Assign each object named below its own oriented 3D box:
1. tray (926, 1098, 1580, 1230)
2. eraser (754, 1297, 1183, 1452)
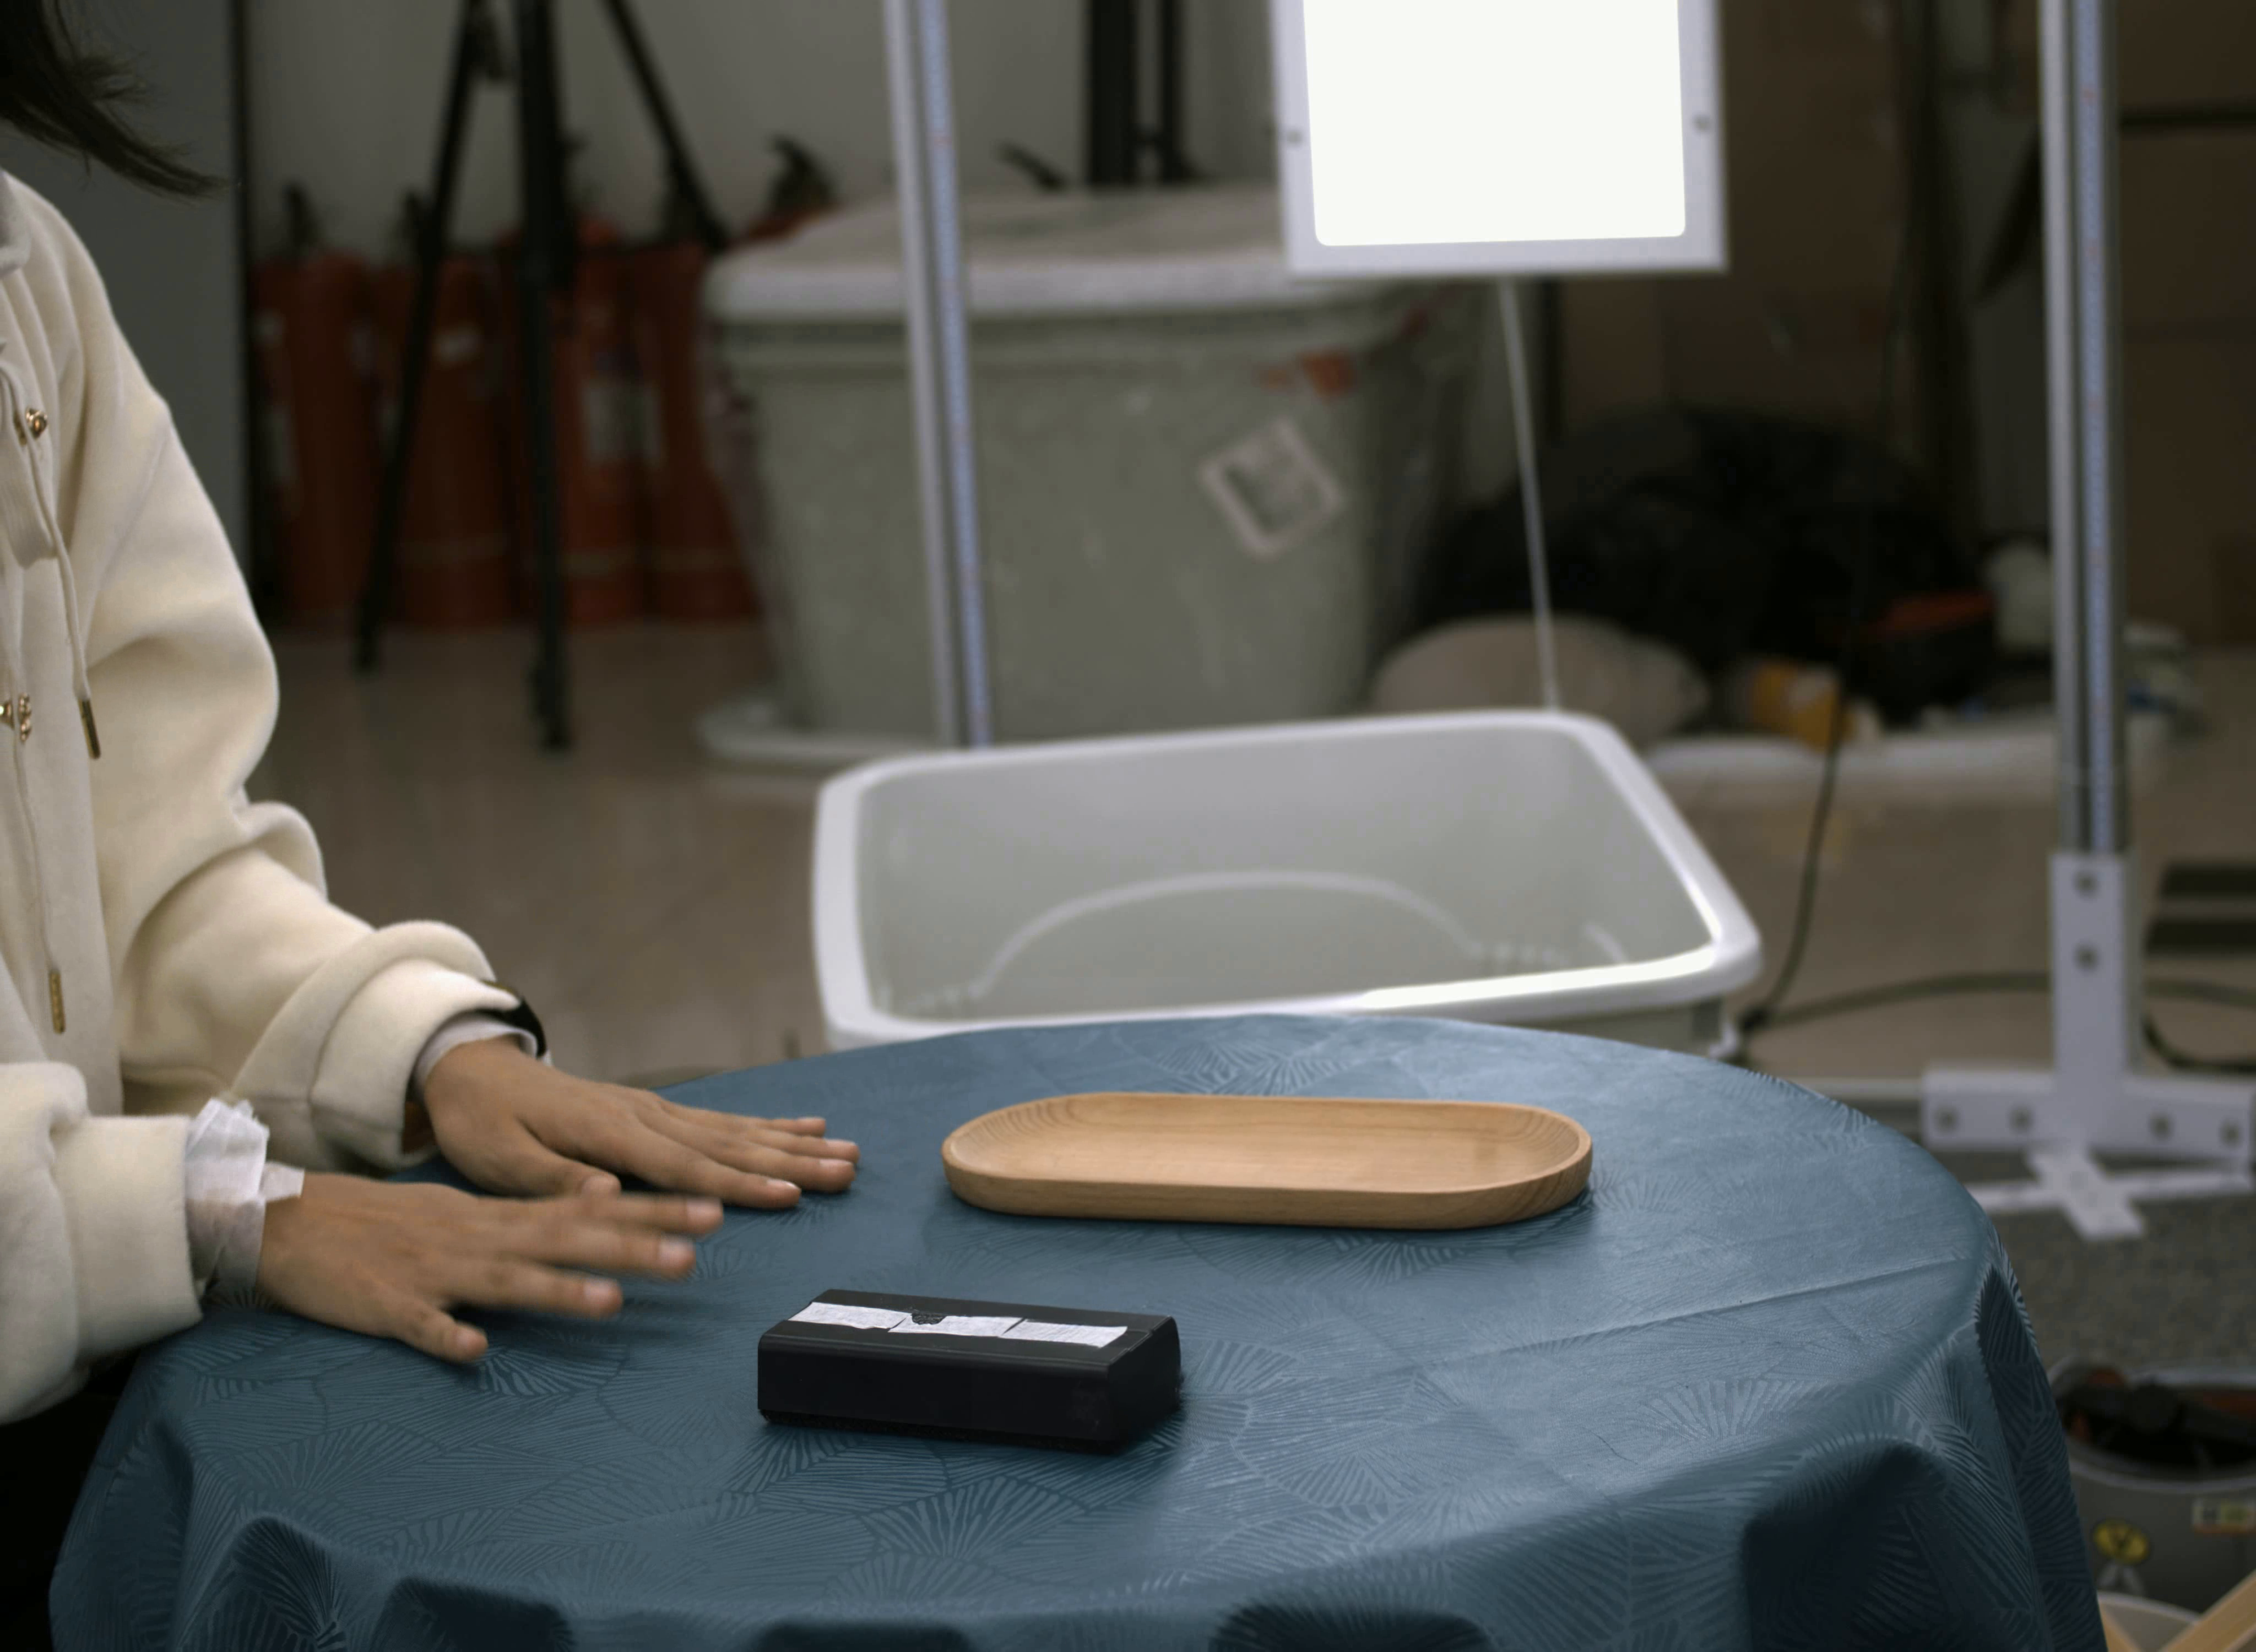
[{"bbox_3d":[0.042,0.116,1.892,0.234,0.020,0.100,-2,14,21],"label":"tray"},{"bbox_3d":[-0.048,0.167,1.689,0.127,0.030,0.052,3,10,27],"label":"eraser"}]
